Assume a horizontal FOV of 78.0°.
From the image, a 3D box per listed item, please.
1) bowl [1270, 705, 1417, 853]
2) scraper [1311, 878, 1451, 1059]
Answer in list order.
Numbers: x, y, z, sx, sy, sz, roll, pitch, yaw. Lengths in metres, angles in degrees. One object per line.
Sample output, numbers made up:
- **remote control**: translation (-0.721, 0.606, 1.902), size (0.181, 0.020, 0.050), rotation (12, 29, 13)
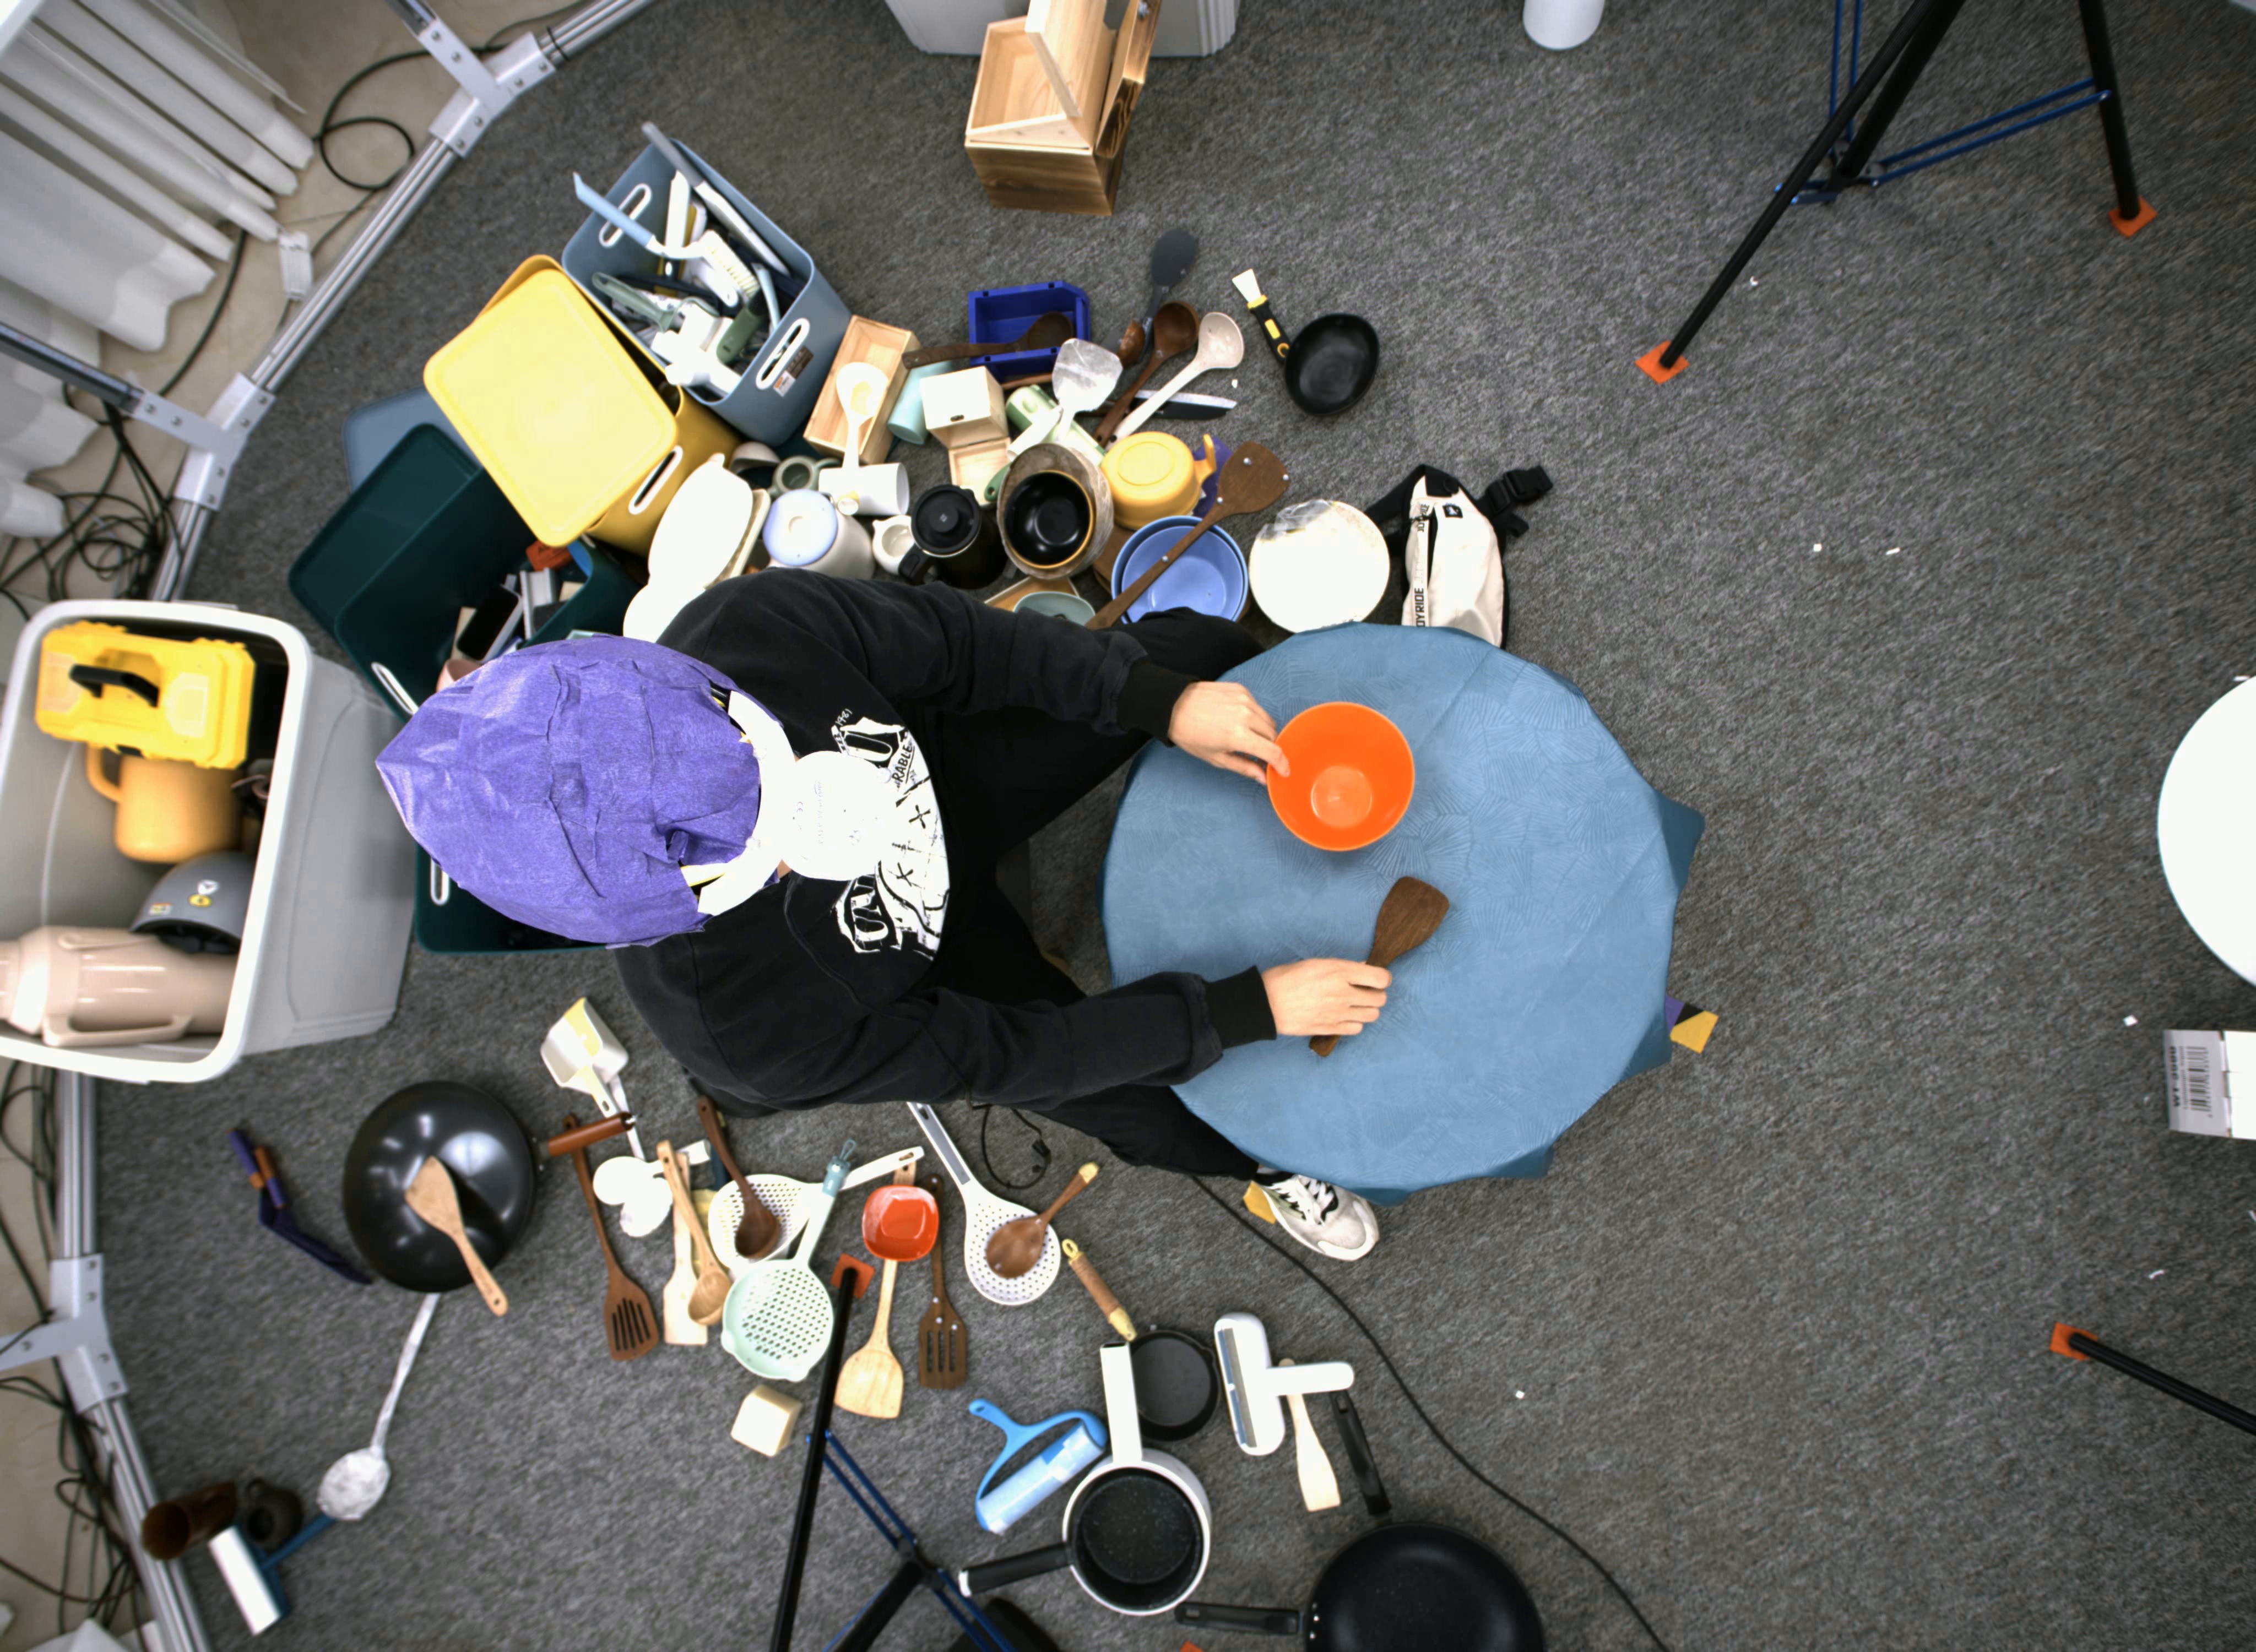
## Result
- **bowl**: translation (0.223, -0.043, 1.430), size (0.148, 0.105, 0.147), rotation (-1, 85, 9)
- **scraper**: translation (0.256, 0.150, 1.437), size (0.075, 0.011, 0.211), rotation (34, 90, 44)
